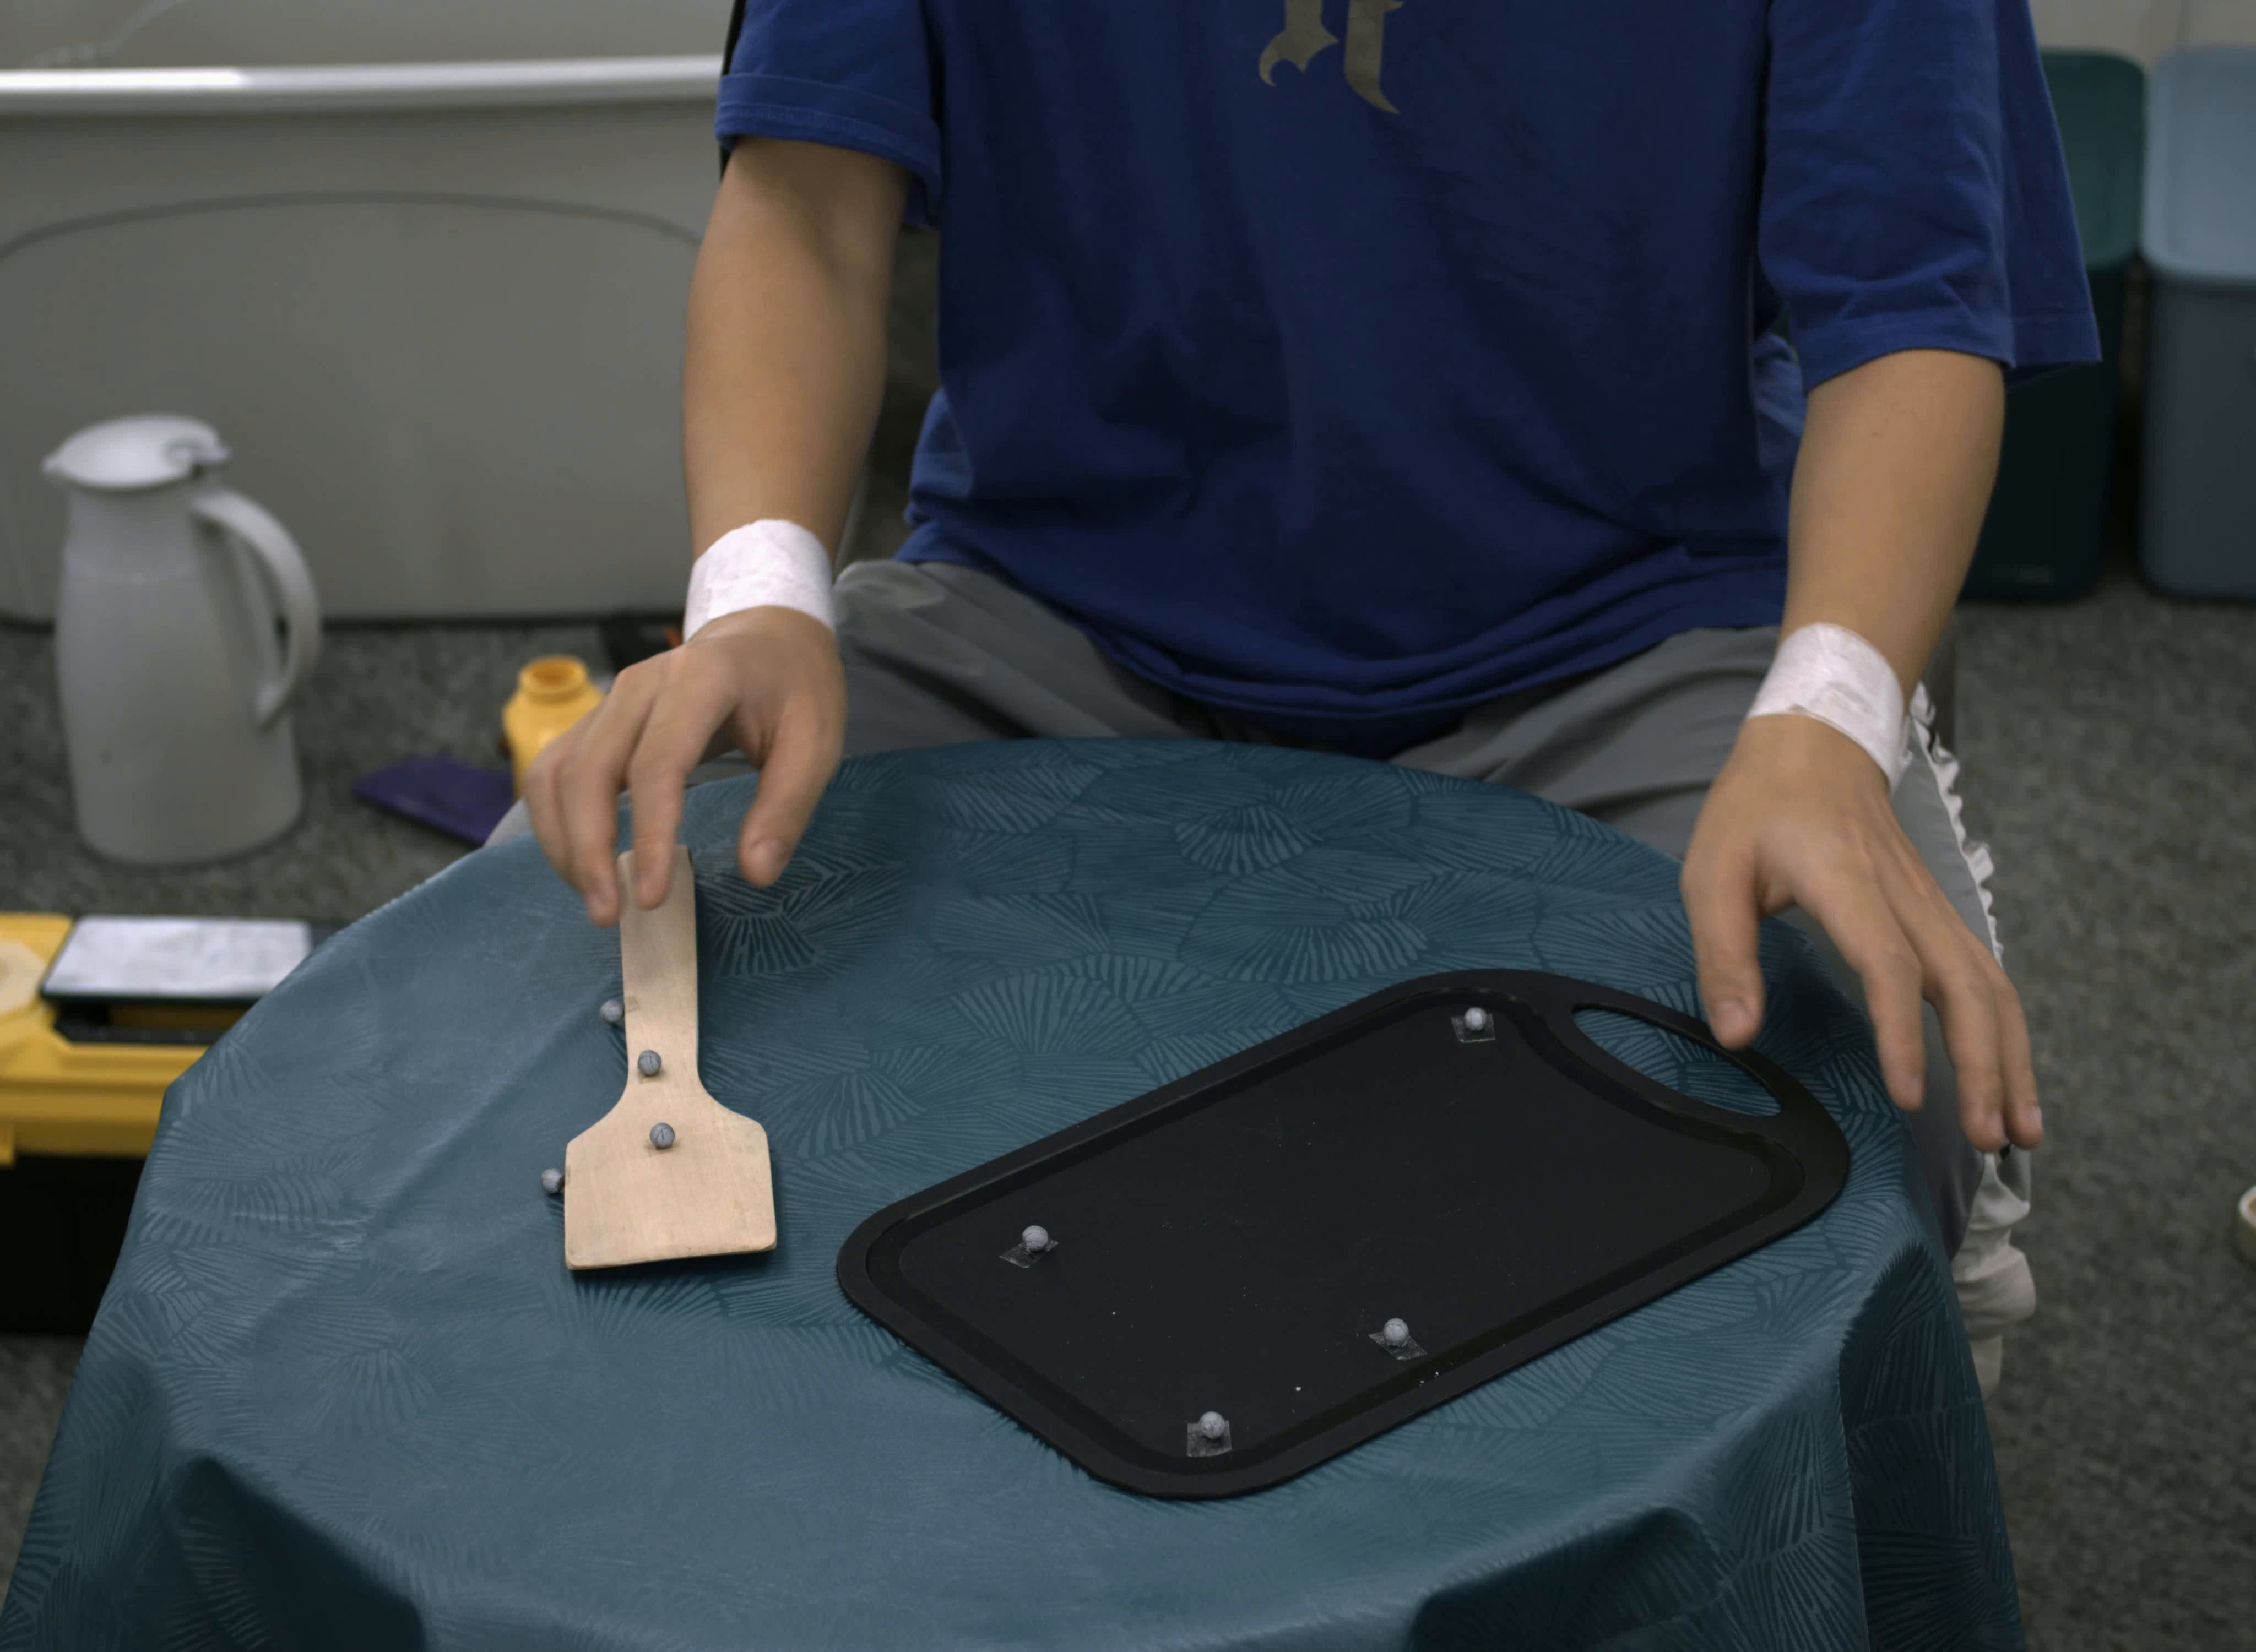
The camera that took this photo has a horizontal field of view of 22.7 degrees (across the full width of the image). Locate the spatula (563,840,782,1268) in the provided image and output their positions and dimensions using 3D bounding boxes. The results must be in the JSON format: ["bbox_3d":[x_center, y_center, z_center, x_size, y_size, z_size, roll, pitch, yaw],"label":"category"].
[{"bbox_3d":[-0.162,0.076,1.956,0.072,0.010,0.297,-6,28,-3],"label":"spatula"}]

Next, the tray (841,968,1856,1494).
[{"bbox_3d":[0.079,0.122,1.844,0.328,0.009,0.211,-21,32,-31],"label":"tray"}]
